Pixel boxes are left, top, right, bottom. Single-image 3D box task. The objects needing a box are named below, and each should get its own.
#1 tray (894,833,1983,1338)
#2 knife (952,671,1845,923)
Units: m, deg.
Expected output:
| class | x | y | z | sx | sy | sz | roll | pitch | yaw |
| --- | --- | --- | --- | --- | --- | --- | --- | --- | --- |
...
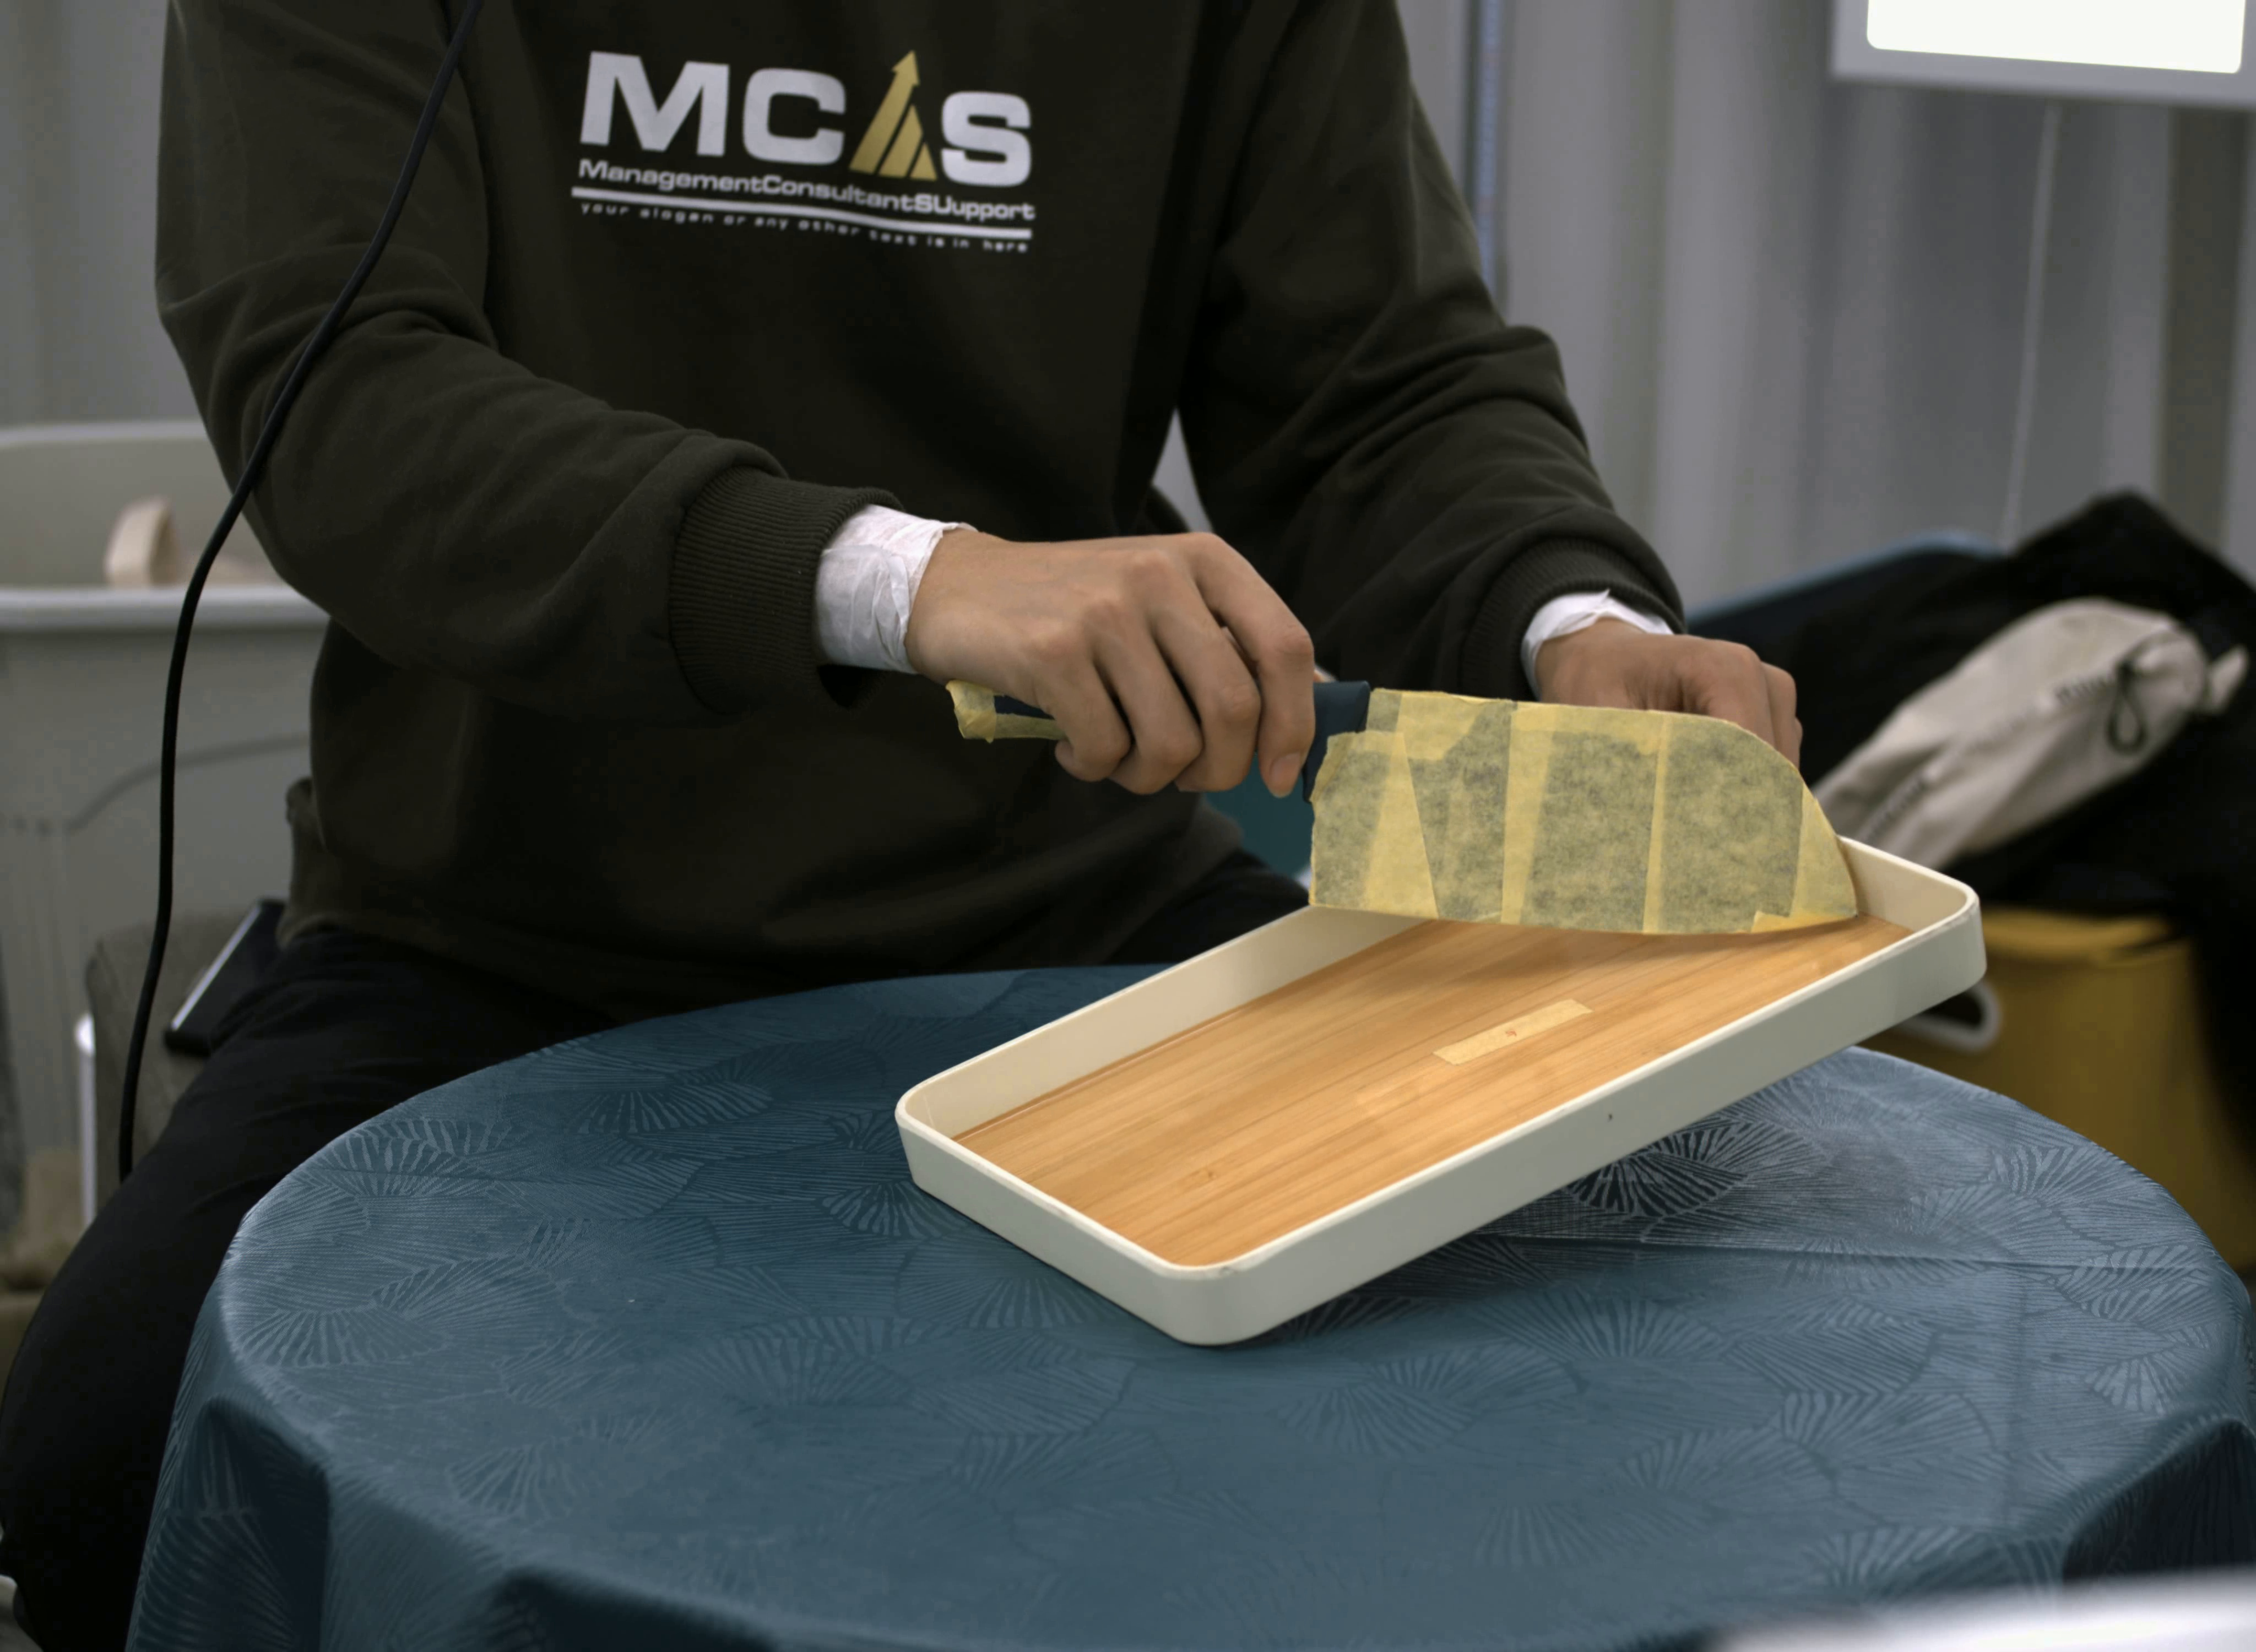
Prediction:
| class | x | y | z | sx | sy | sz | roll | pitch | yaw |
| --- | --- | --- | --- | --- | --- | --- | --- | --- | --- |
| tray | 0.095 | 0.065 | 1.621 | 0.301 | 0.028 | 0.189 | -23 | 24 | -25 |
| knife | 0.084 | -0.010 | 1.668 | 0.288 | 0.081 | 0.027 | 7 | -14 | 6 |
